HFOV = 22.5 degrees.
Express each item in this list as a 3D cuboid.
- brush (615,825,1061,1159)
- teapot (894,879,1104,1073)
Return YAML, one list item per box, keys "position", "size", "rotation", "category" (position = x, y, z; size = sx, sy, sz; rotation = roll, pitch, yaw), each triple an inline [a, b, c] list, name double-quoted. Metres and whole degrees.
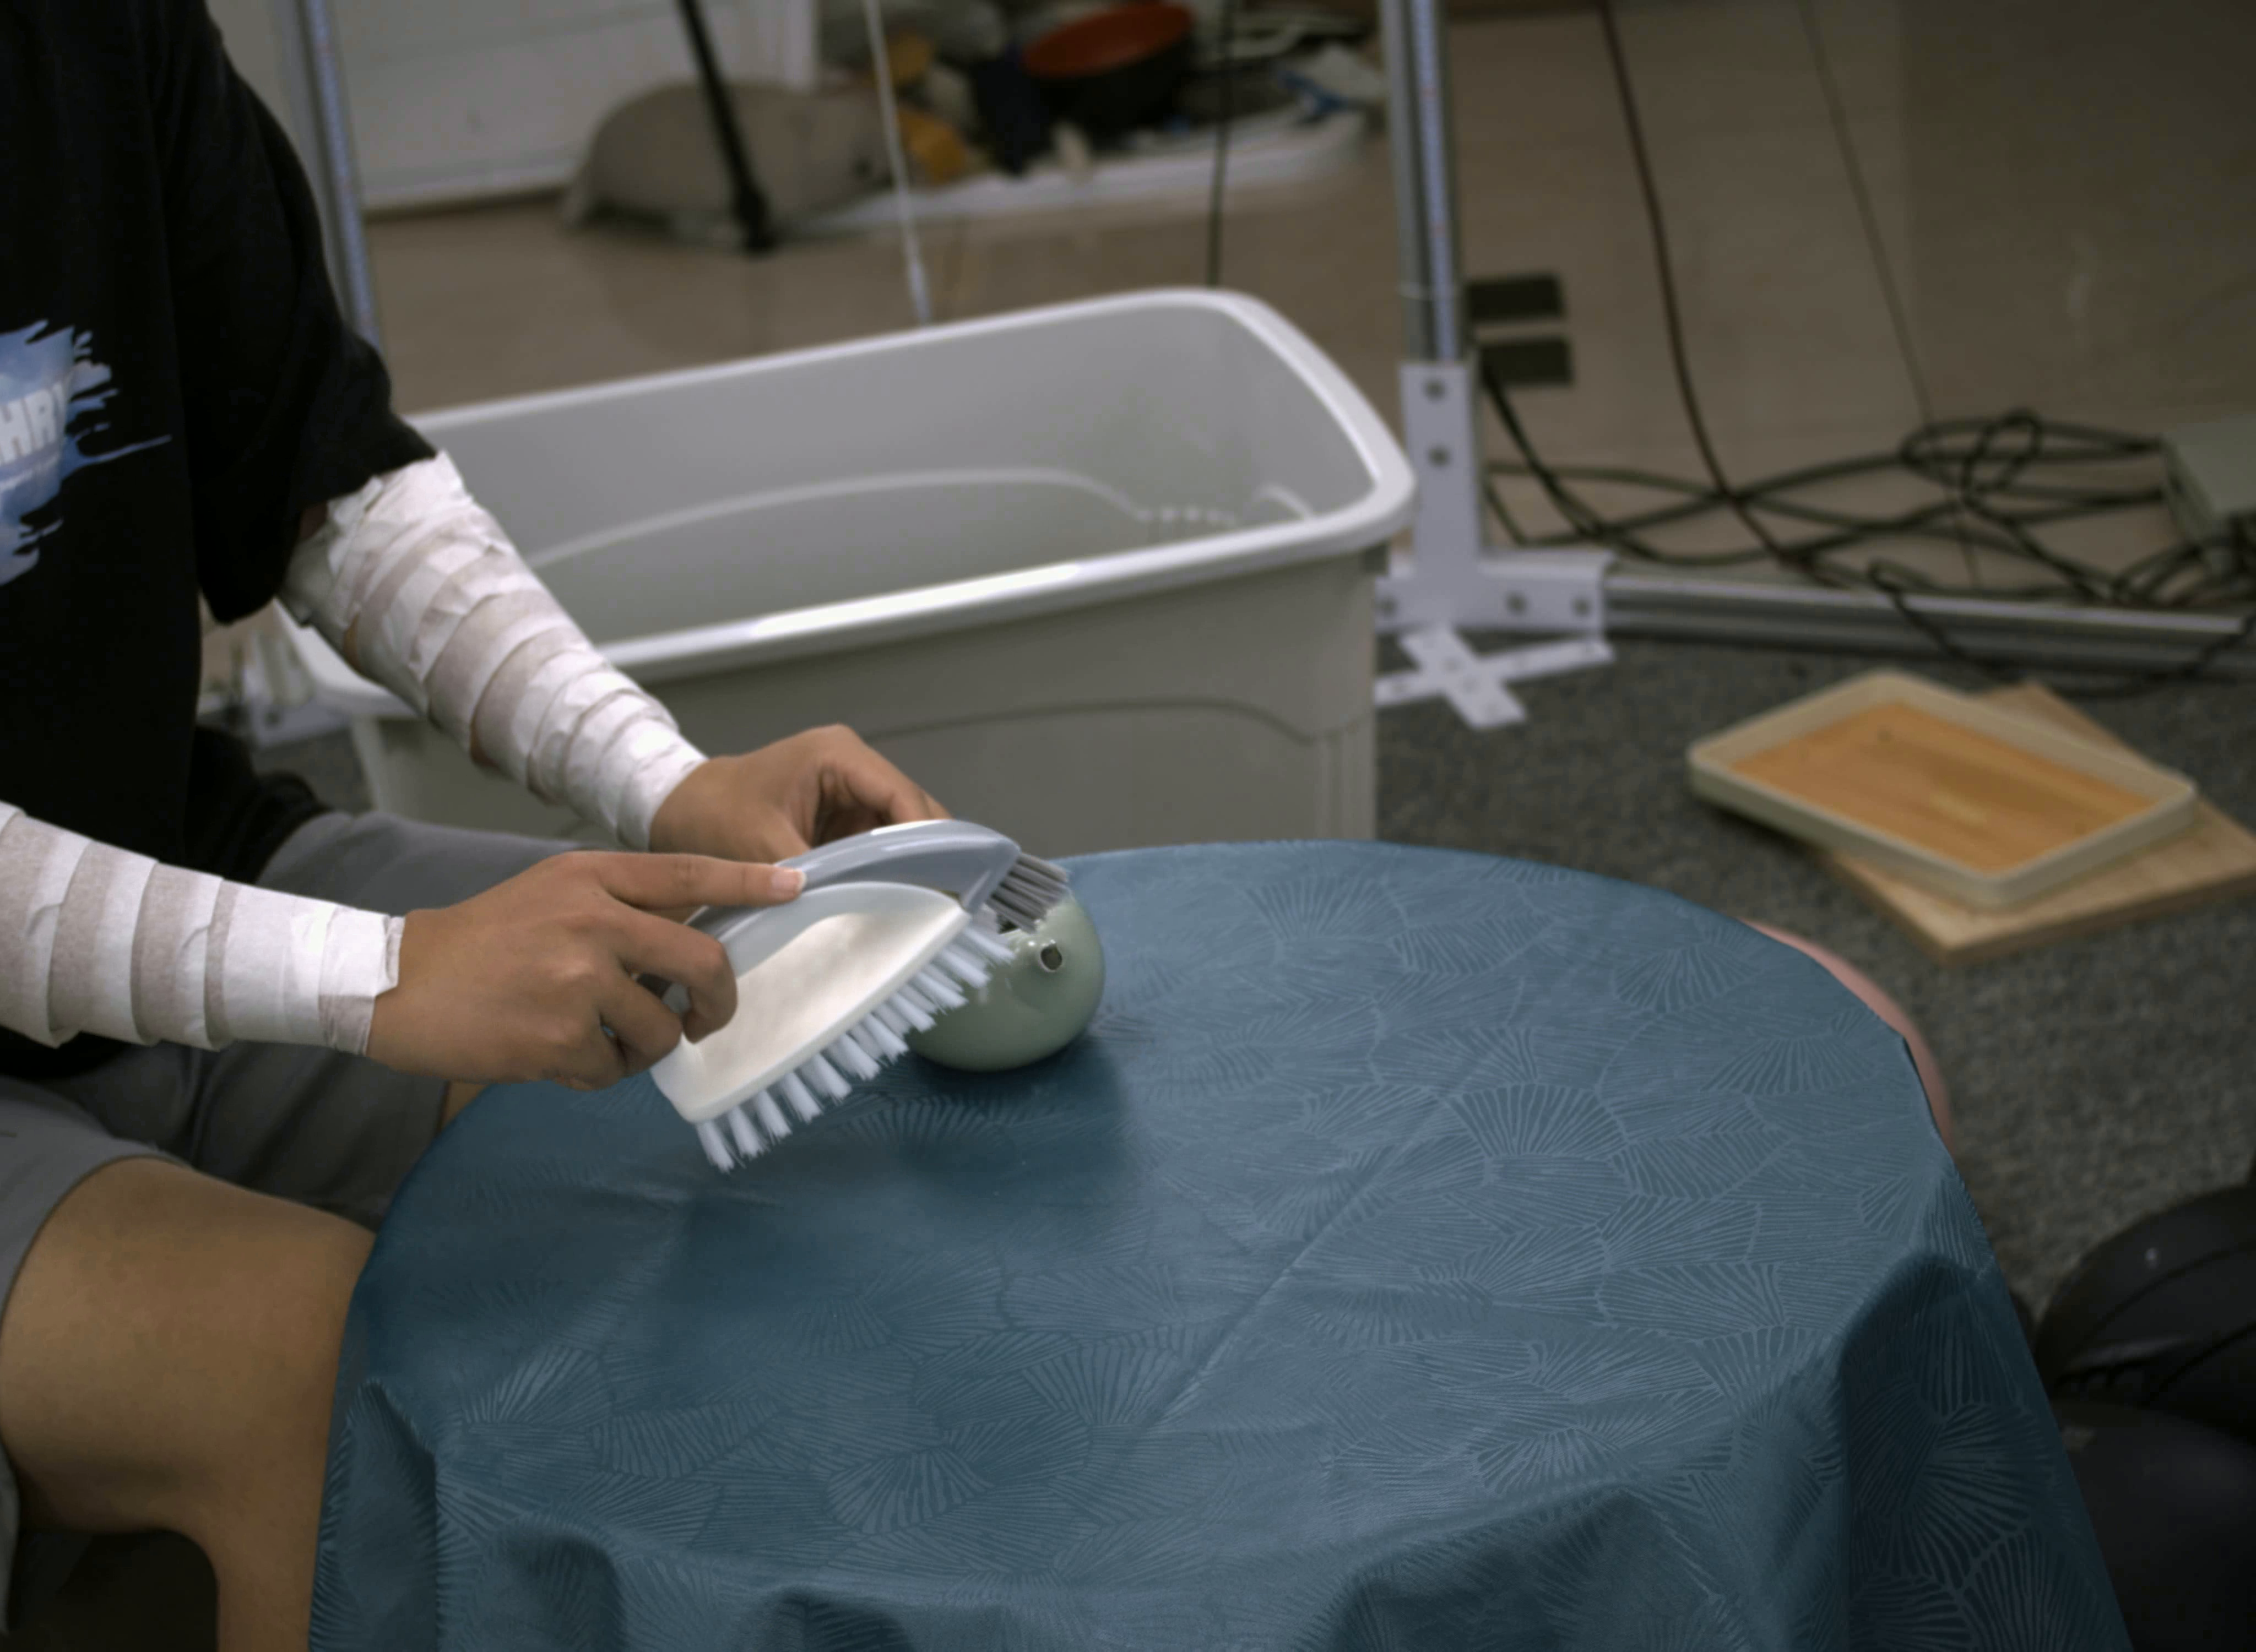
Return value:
- position: [-0.116, 0.046, 2.160]
  size: [0.176, 0.095, 0.060]
  rotation: [-32, 46, 6]
  category: "brush"
- position: [-0.059, 0.056, 2.269]
  size: [0.091, 0.062, 0.127]
  rotation: [-19, 27, -21]
  category: "teapot"
